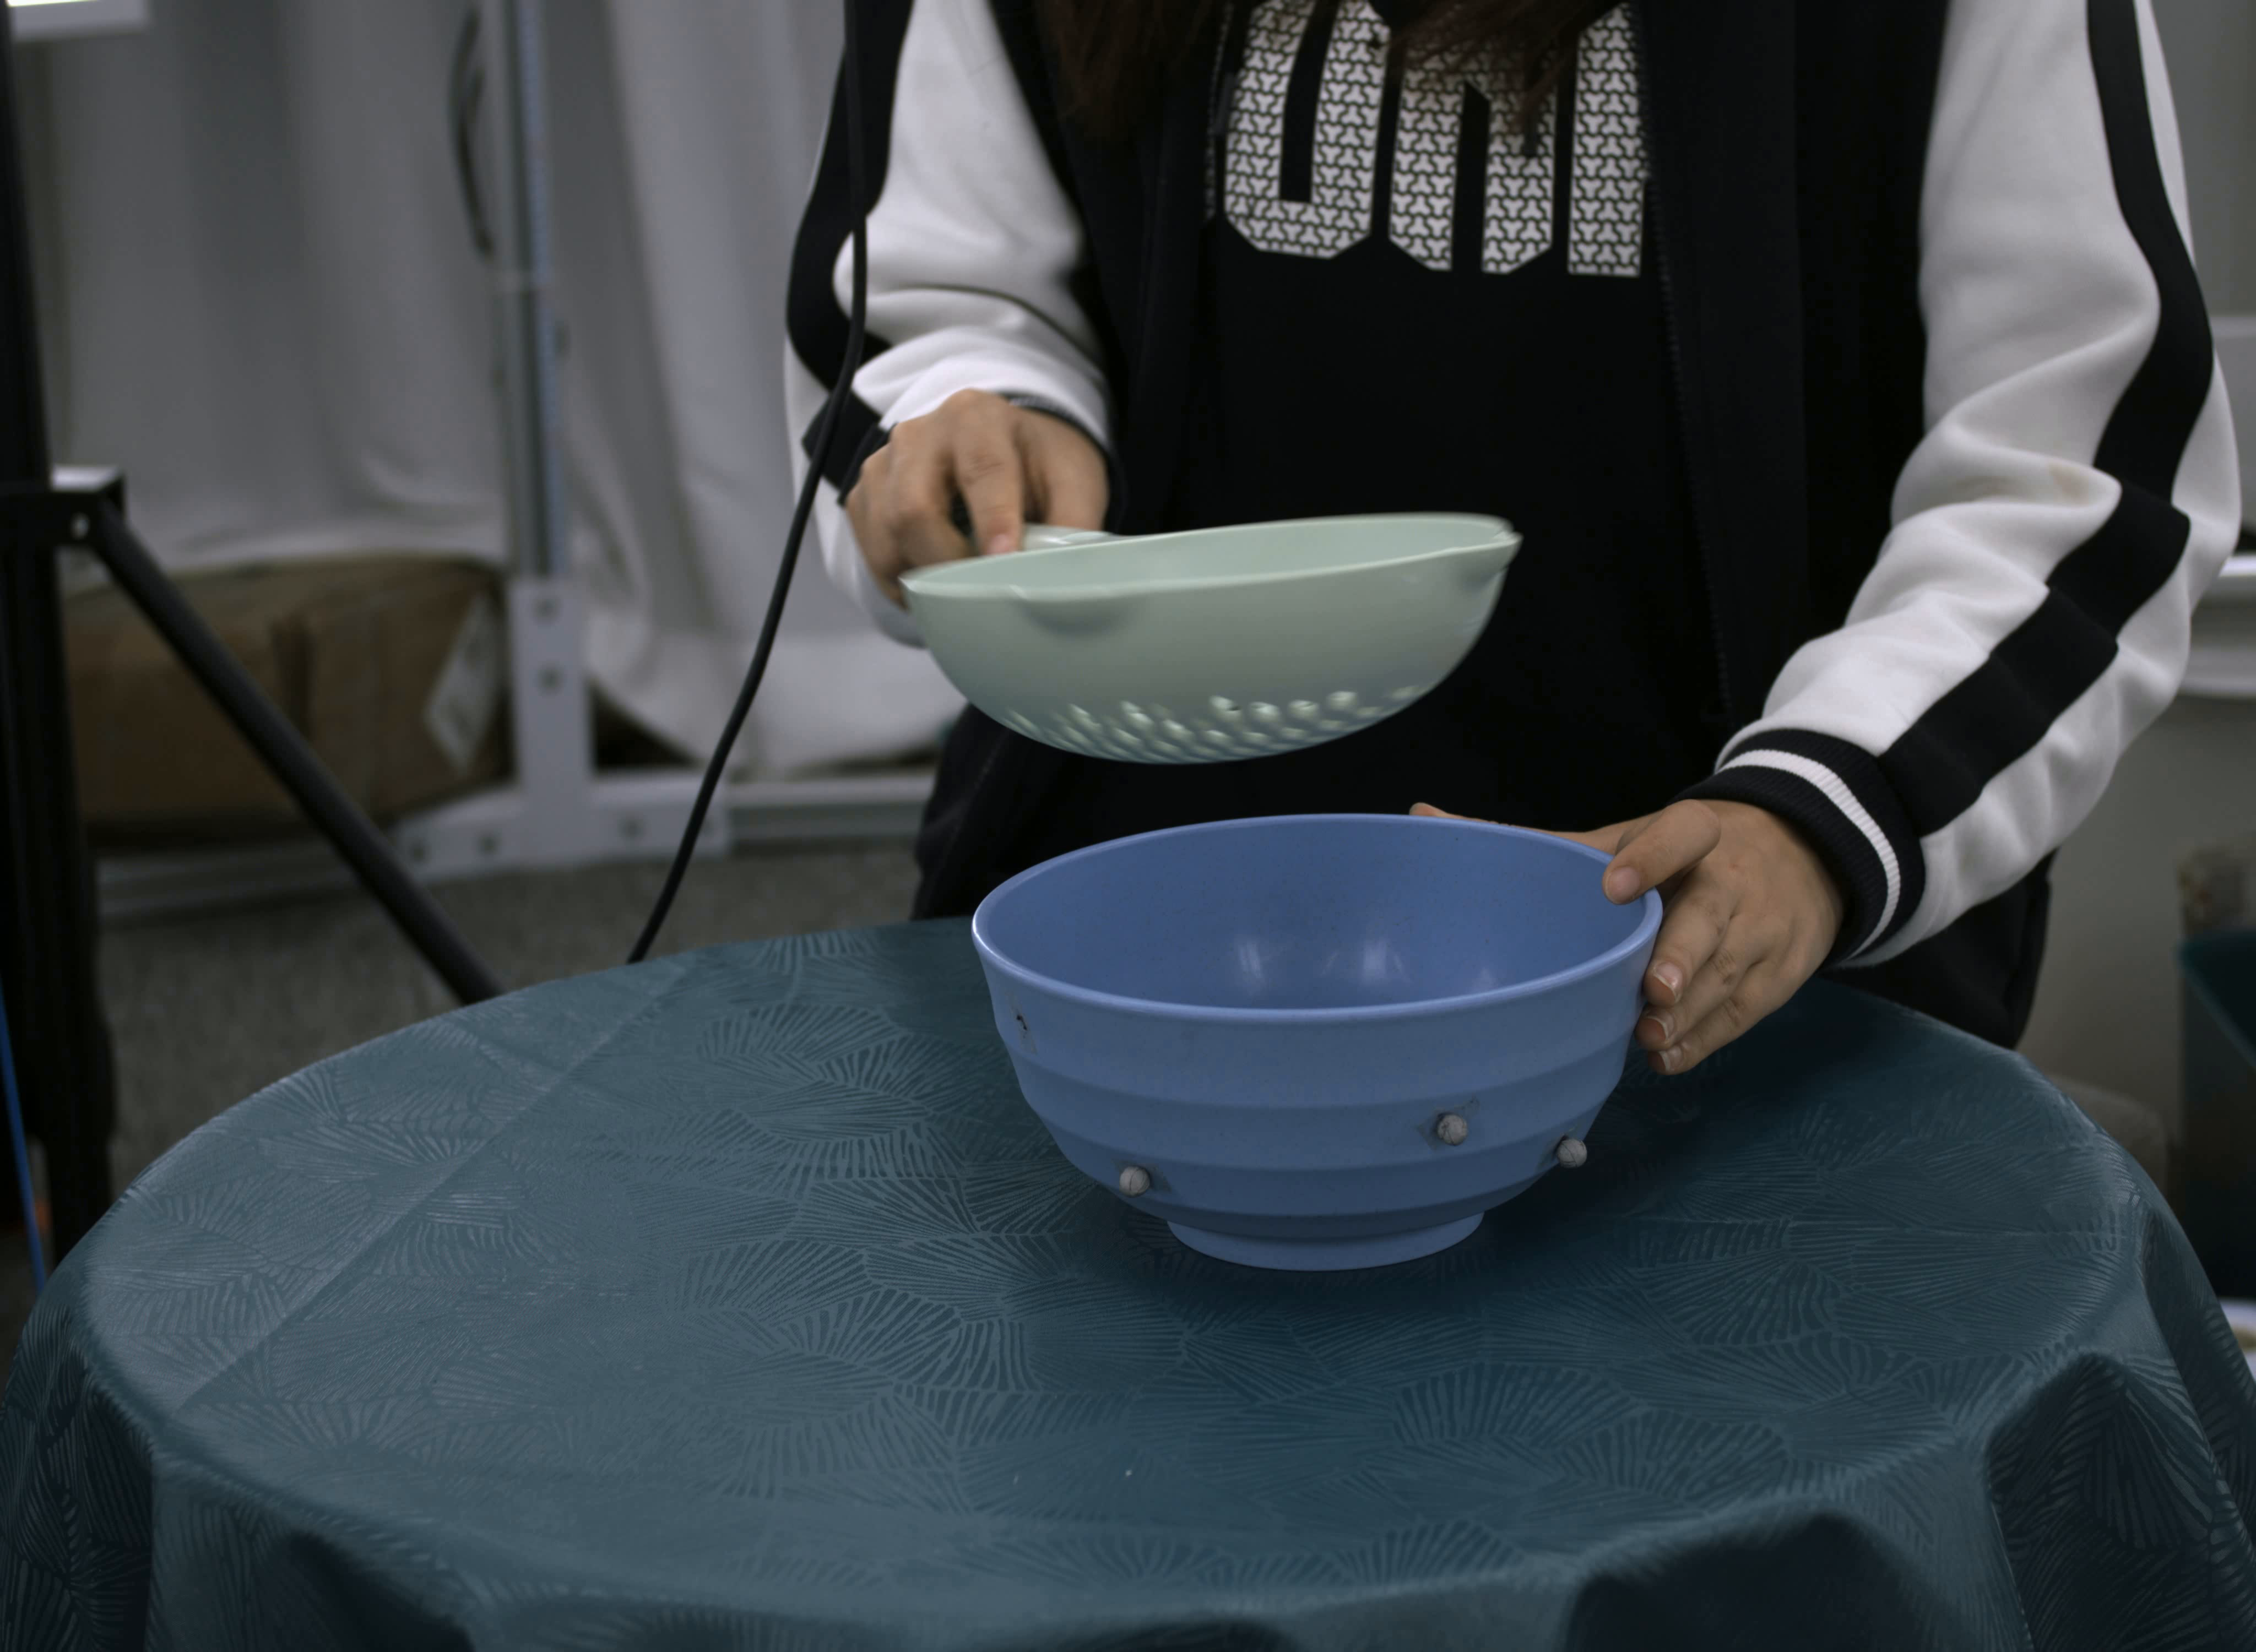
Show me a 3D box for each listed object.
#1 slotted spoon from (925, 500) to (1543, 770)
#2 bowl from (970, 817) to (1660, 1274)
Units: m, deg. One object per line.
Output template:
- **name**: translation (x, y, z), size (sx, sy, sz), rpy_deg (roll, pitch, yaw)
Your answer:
- **slotted spoon**: translation (-0.002, -0.072, 1.566), size (0.166, 0.075, 0.365), rpy_deg (-10, 16, -17)
- **bowl**: translation (0.054, 0.068, 1.516), size (0.195, 0.095, 0.197), rpy_deg (-3, 15, -1)
